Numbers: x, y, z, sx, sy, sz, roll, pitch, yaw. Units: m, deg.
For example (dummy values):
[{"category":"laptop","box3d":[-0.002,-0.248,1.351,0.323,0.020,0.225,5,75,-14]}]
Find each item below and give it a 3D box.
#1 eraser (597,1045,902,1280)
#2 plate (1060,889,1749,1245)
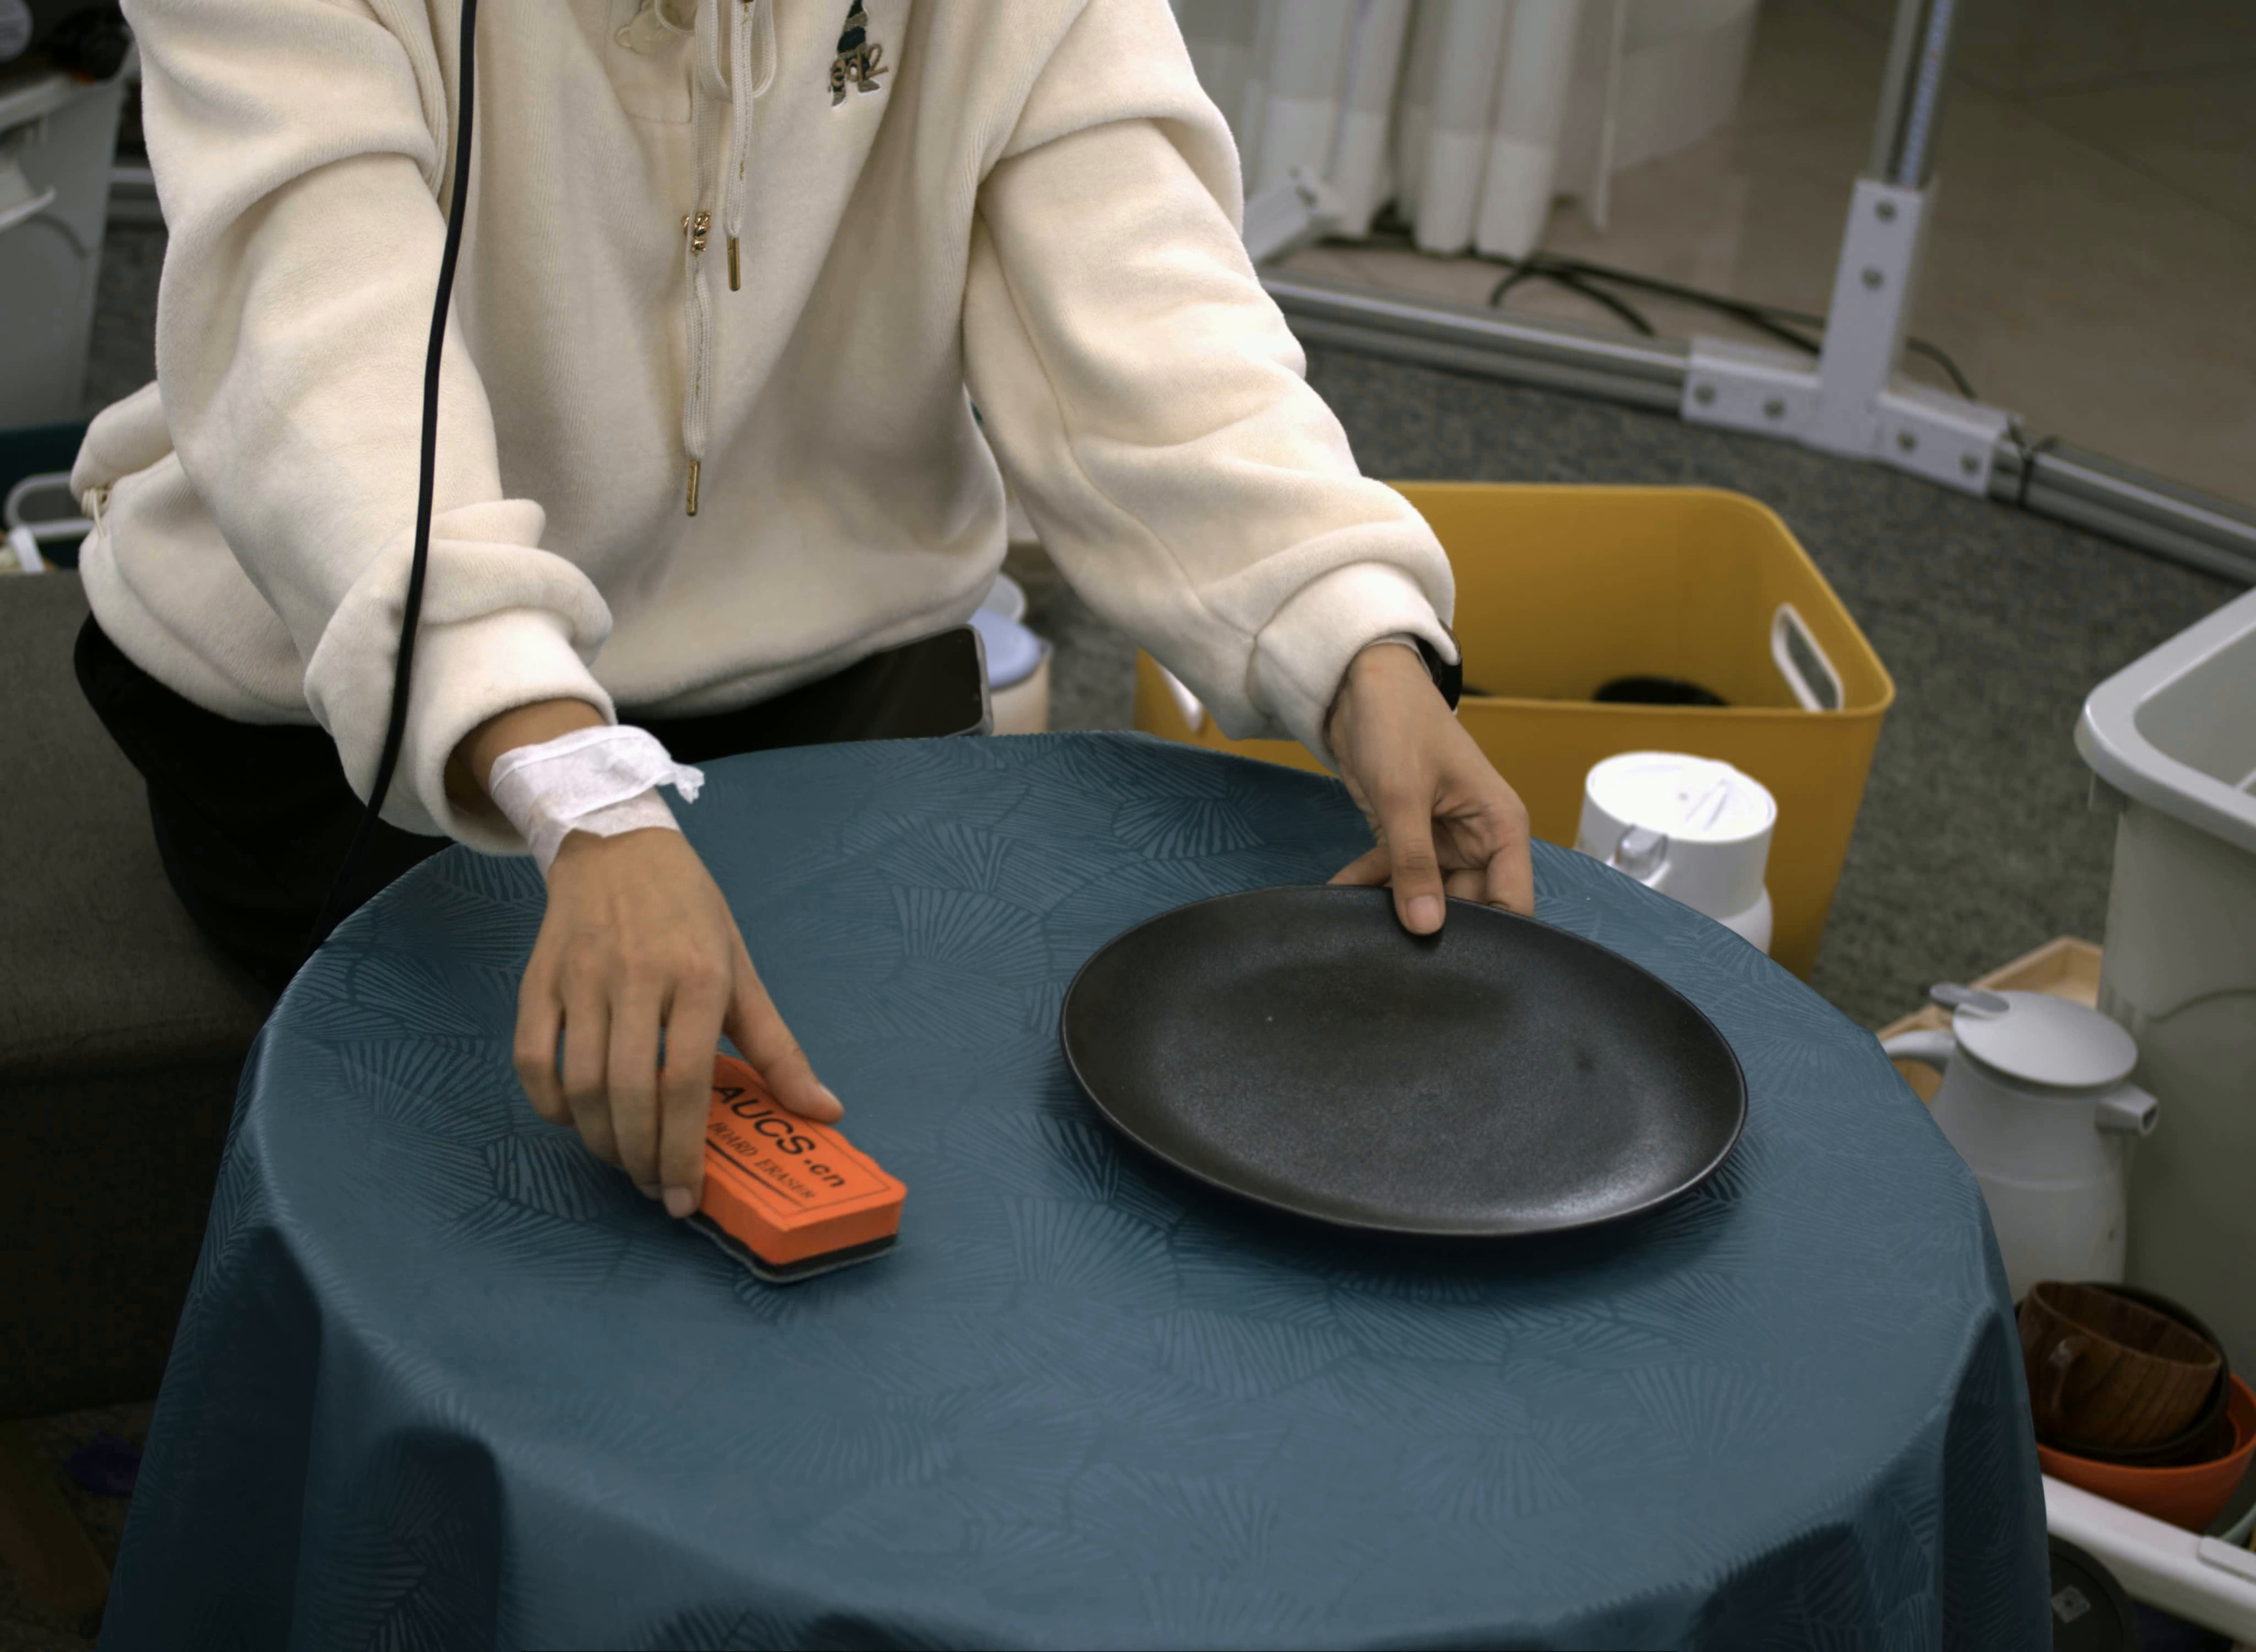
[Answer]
[{"category":"eraser","box3d":[-0.126,0.111,1.765,0.058,0.023,0.109,-12,34,-37]},{"category":"plate","box3d":[0.096,0.088,1.867,0.243,0.023,0.246,5,27,-3]}]
